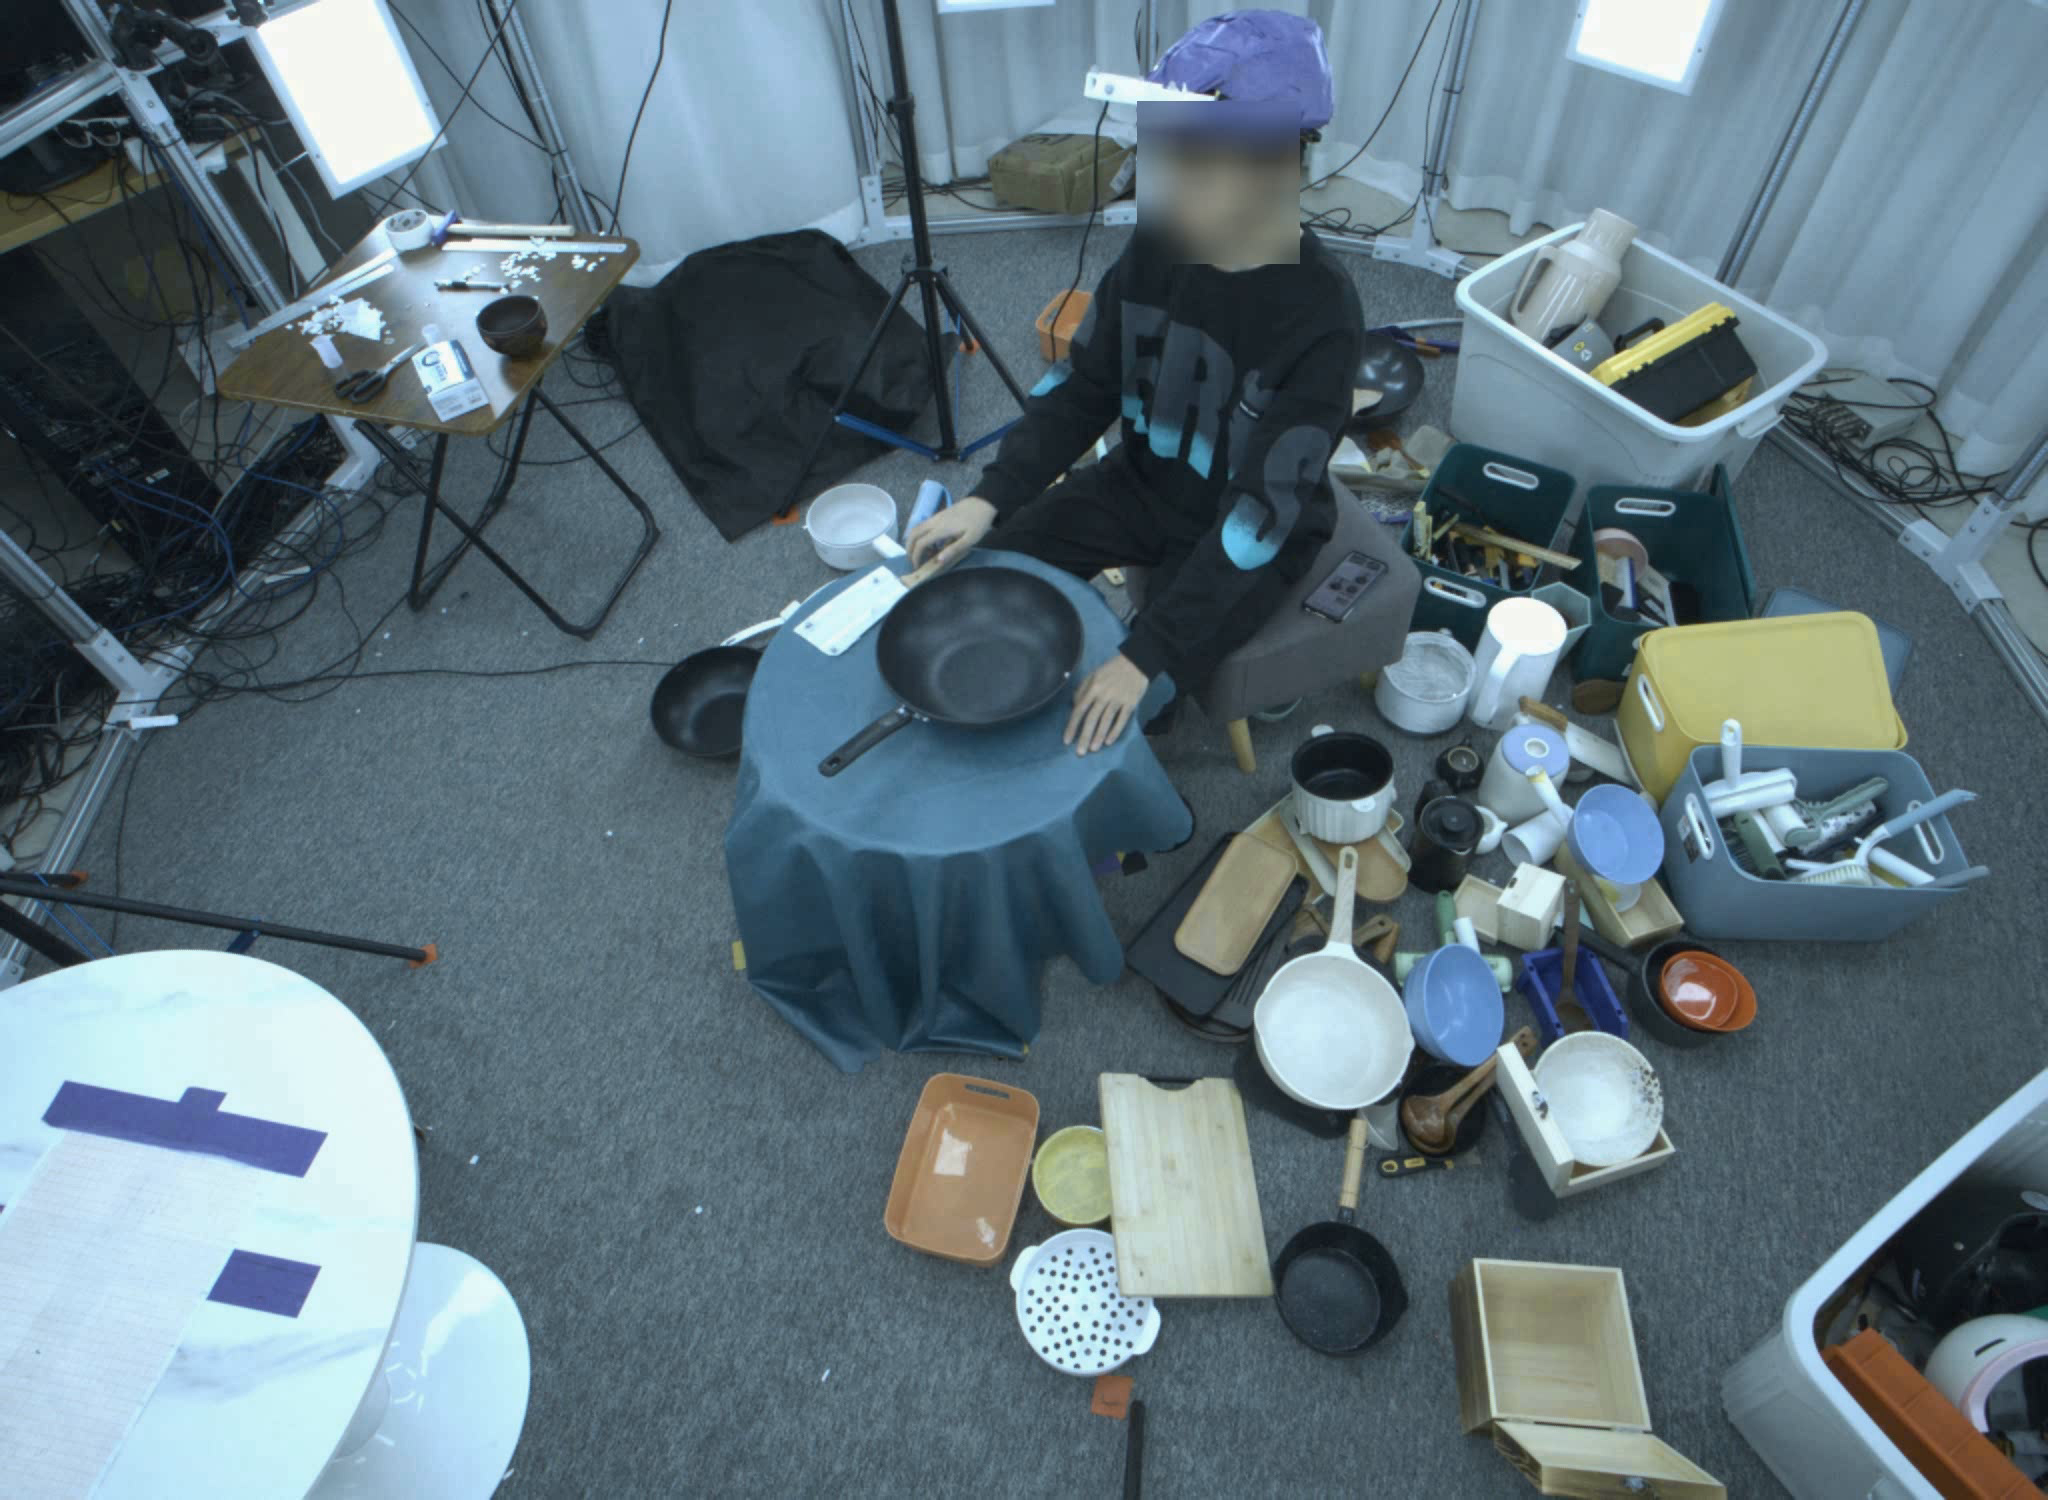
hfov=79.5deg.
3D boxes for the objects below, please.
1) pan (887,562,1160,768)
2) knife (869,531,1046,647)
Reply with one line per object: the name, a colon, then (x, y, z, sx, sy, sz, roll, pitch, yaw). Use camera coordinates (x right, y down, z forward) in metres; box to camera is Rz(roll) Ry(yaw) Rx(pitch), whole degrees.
pan: (-0.011, -0.097, 1.791, 0.304, 0.113, 0.480, 36, 63, 26)
knife: (-0.099, -0.265, 1.967, 0.317, 0.022, 0.112, -33, 60, -16)
